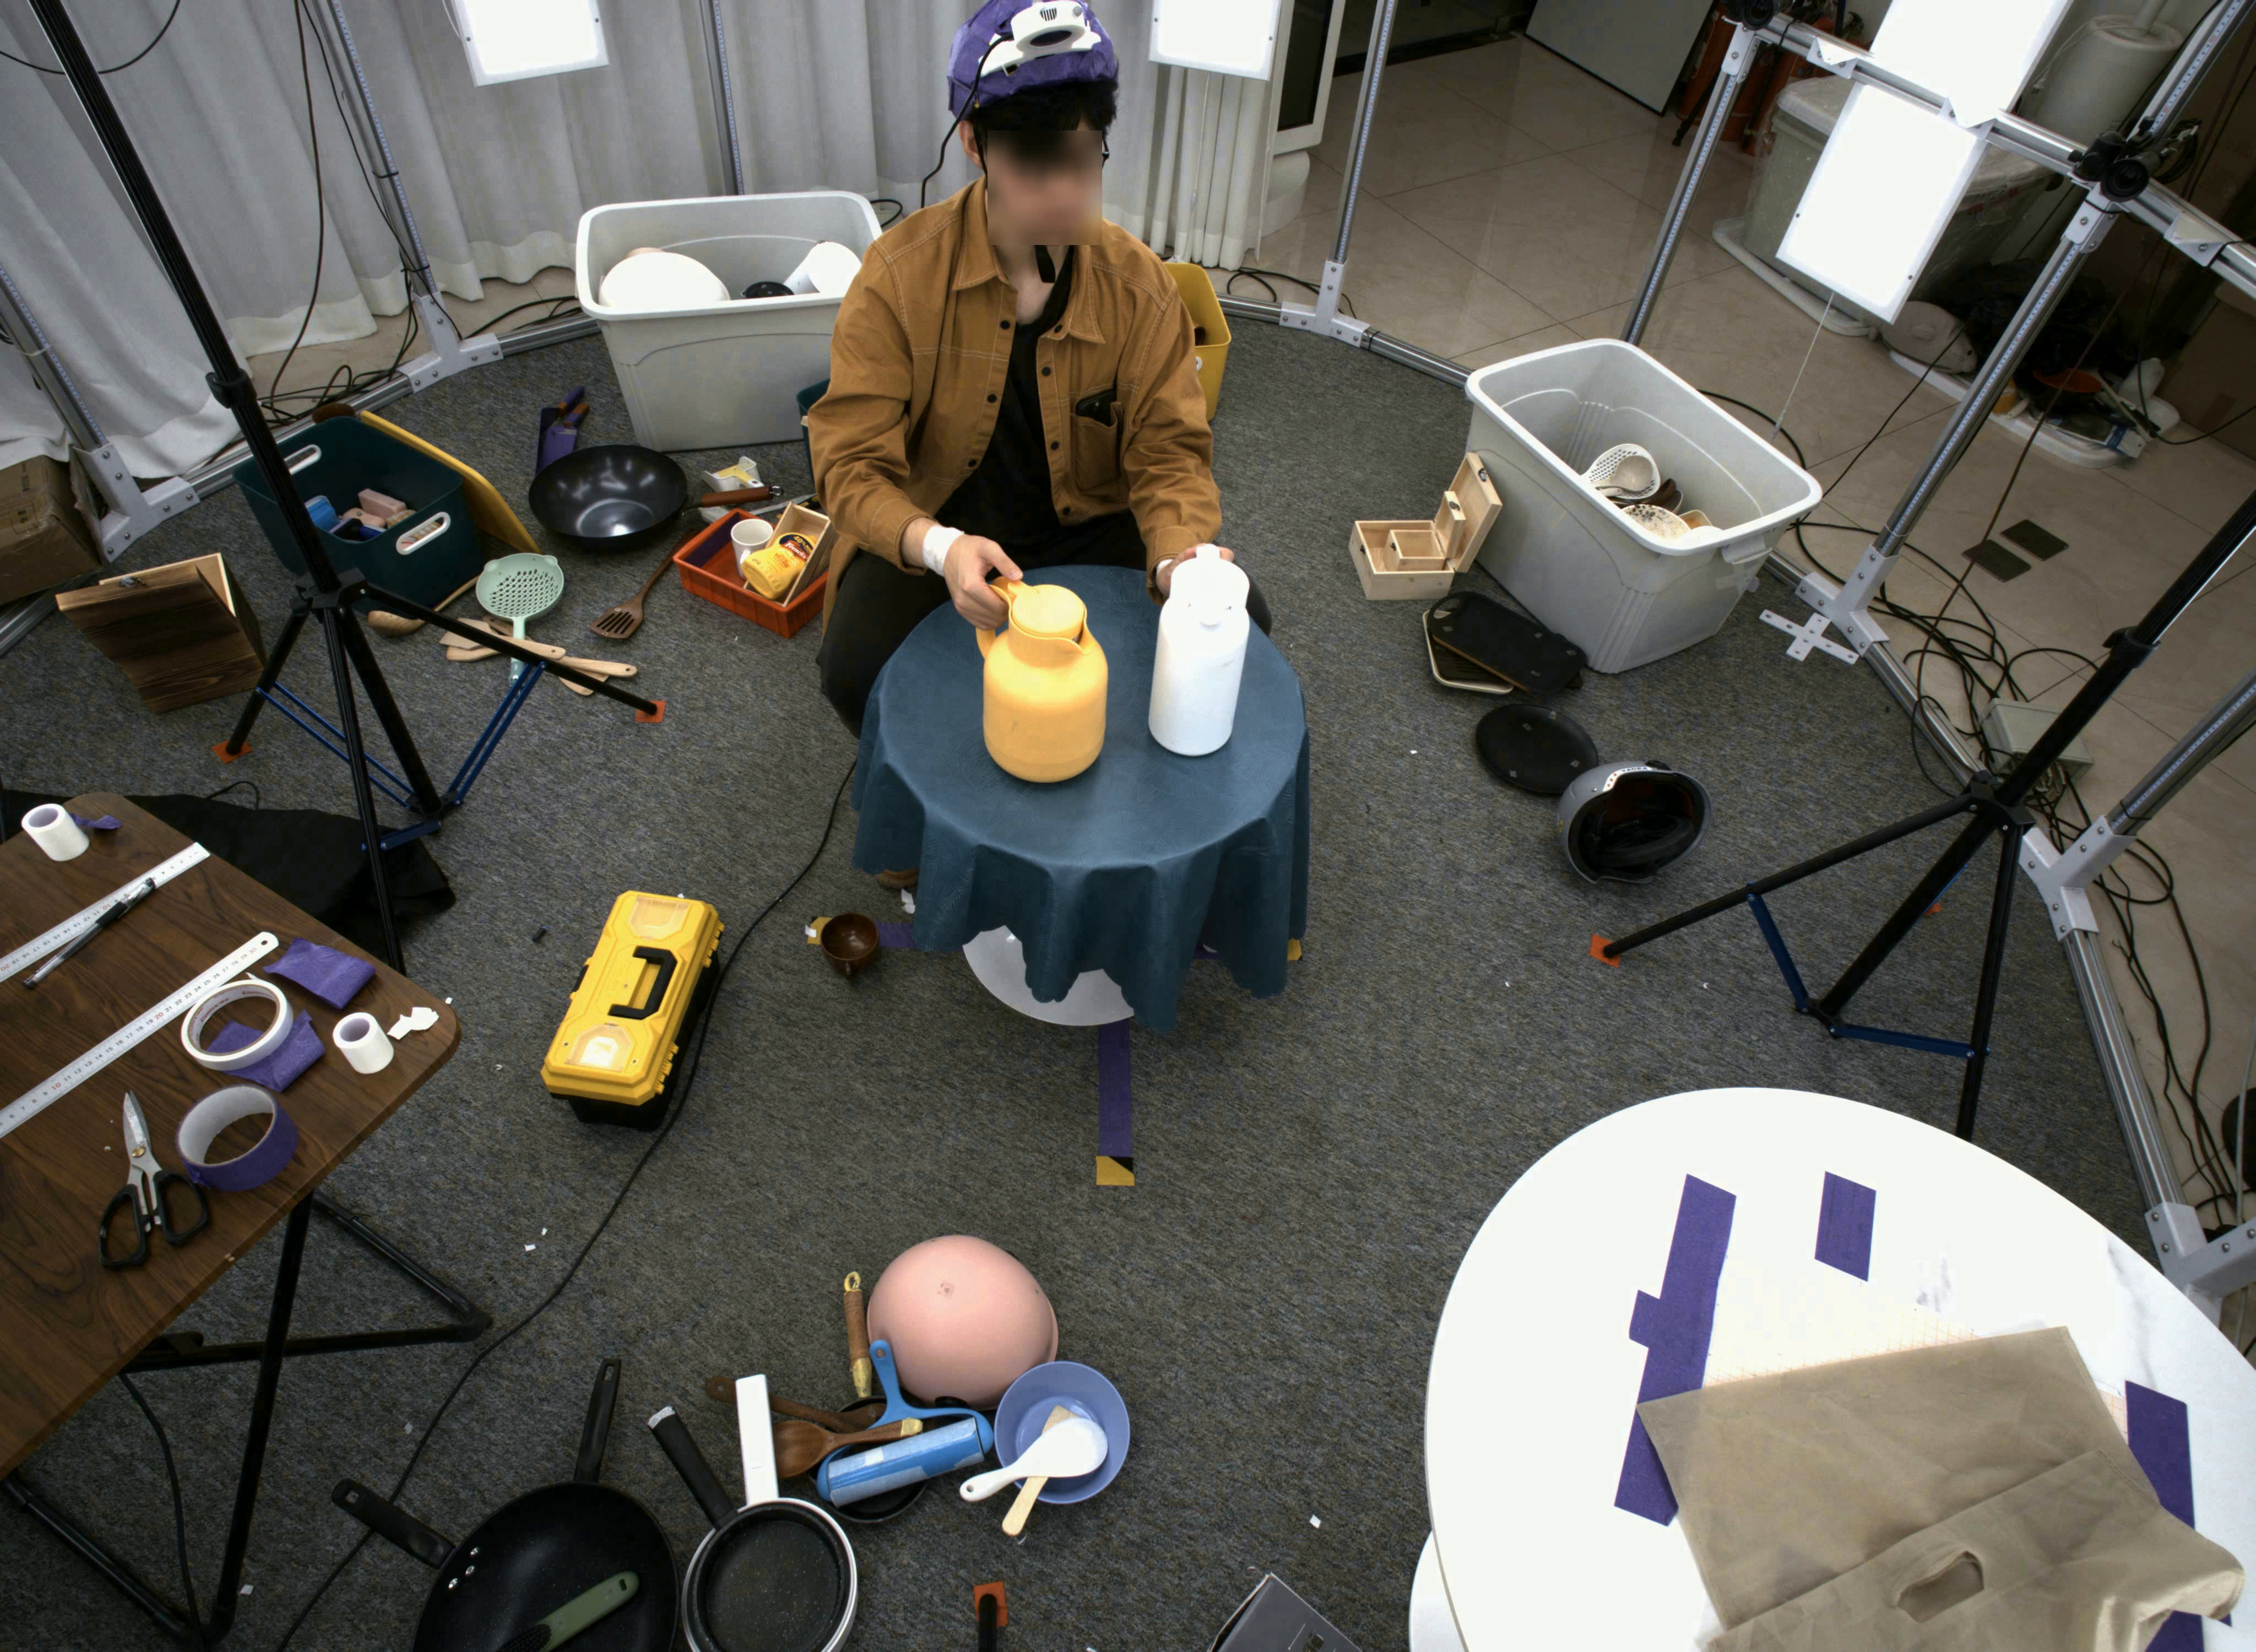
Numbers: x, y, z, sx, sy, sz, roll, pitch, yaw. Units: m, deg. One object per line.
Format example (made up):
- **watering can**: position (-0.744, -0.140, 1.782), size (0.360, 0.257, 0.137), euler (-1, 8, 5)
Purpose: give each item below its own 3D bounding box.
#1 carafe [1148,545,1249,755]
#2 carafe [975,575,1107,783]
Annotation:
- **carafe**: position (0.092, -0.235, 1.706), size (0.124, 0.262, 0.177), euler (2, 49, 0)
- **carafe**: position (-0.121, -0.199, 1.666), size (0.165, 0.254, 0.205), euler (-33, 60, -31)
